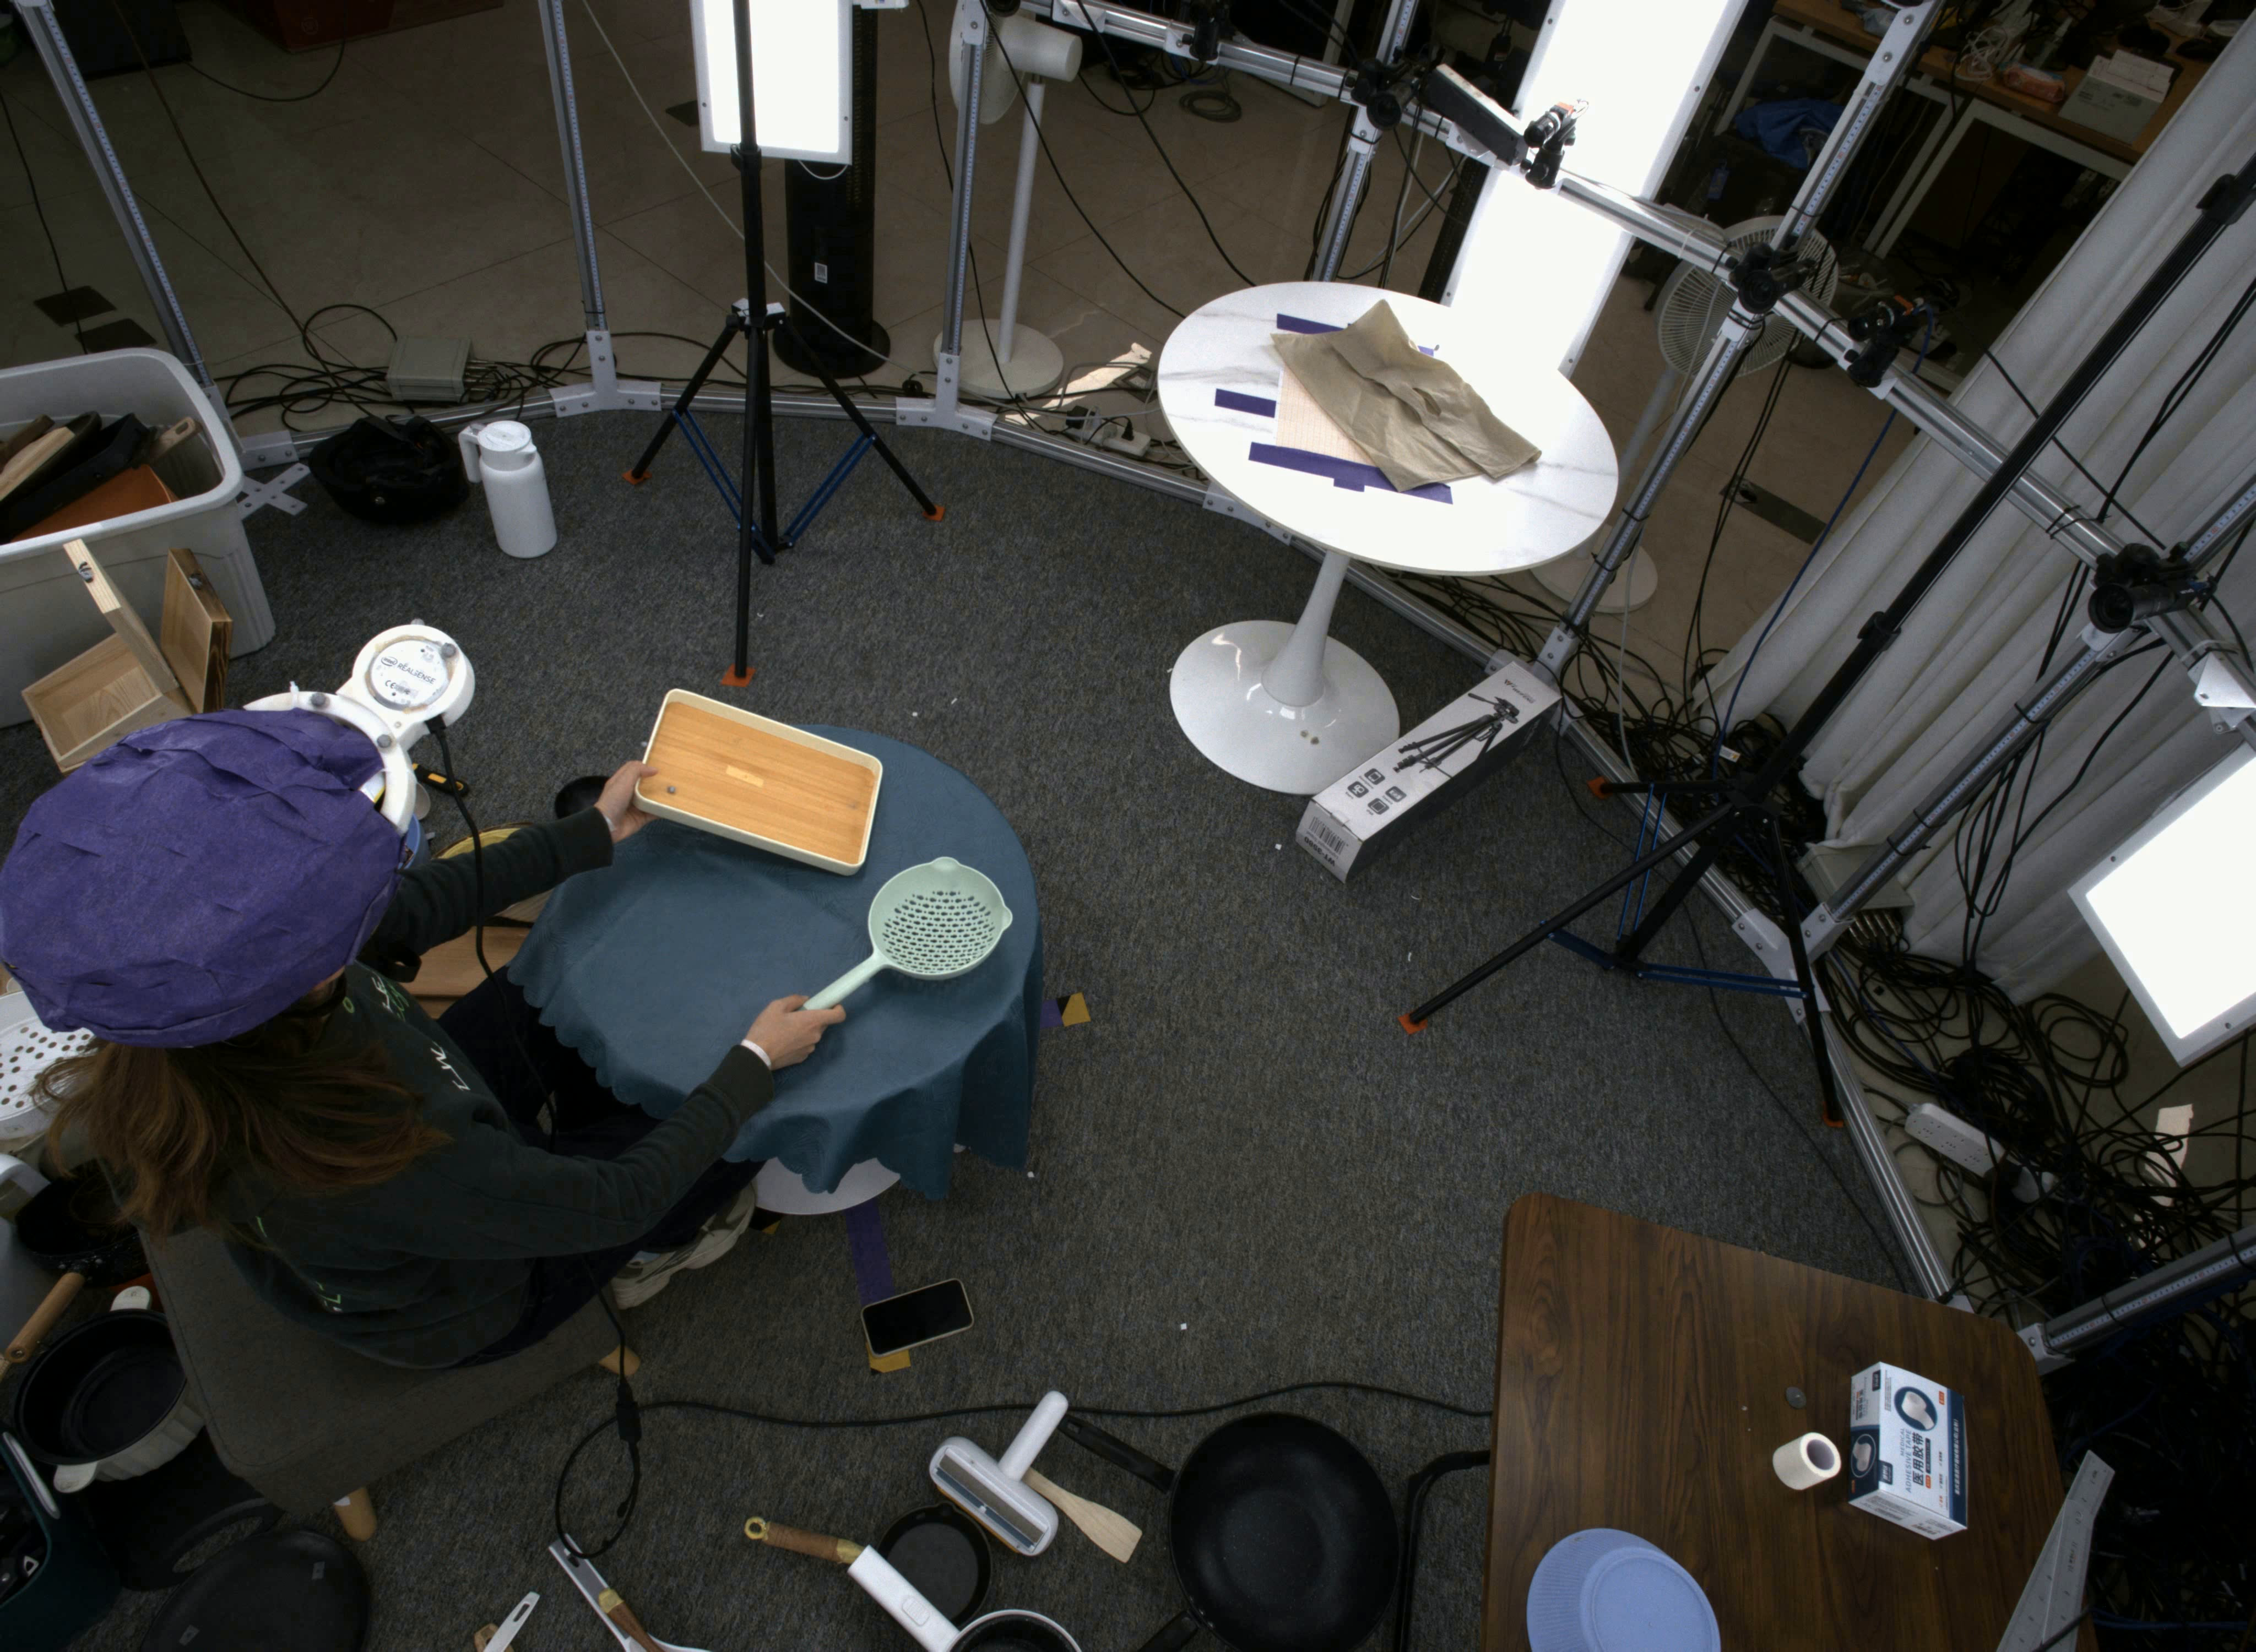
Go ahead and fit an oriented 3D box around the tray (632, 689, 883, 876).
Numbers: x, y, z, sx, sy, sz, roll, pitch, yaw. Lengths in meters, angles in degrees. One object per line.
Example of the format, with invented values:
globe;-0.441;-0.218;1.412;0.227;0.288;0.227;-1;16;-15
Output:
tray;-0.477;-0.058;1.685;0.305;0.027;0.188;20;50;-22

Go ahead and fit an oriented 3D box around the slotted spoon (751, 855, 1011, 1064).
slotted spoon;-0.307;0.169;1.584;0.164;0.077;0.360;40;51;24
